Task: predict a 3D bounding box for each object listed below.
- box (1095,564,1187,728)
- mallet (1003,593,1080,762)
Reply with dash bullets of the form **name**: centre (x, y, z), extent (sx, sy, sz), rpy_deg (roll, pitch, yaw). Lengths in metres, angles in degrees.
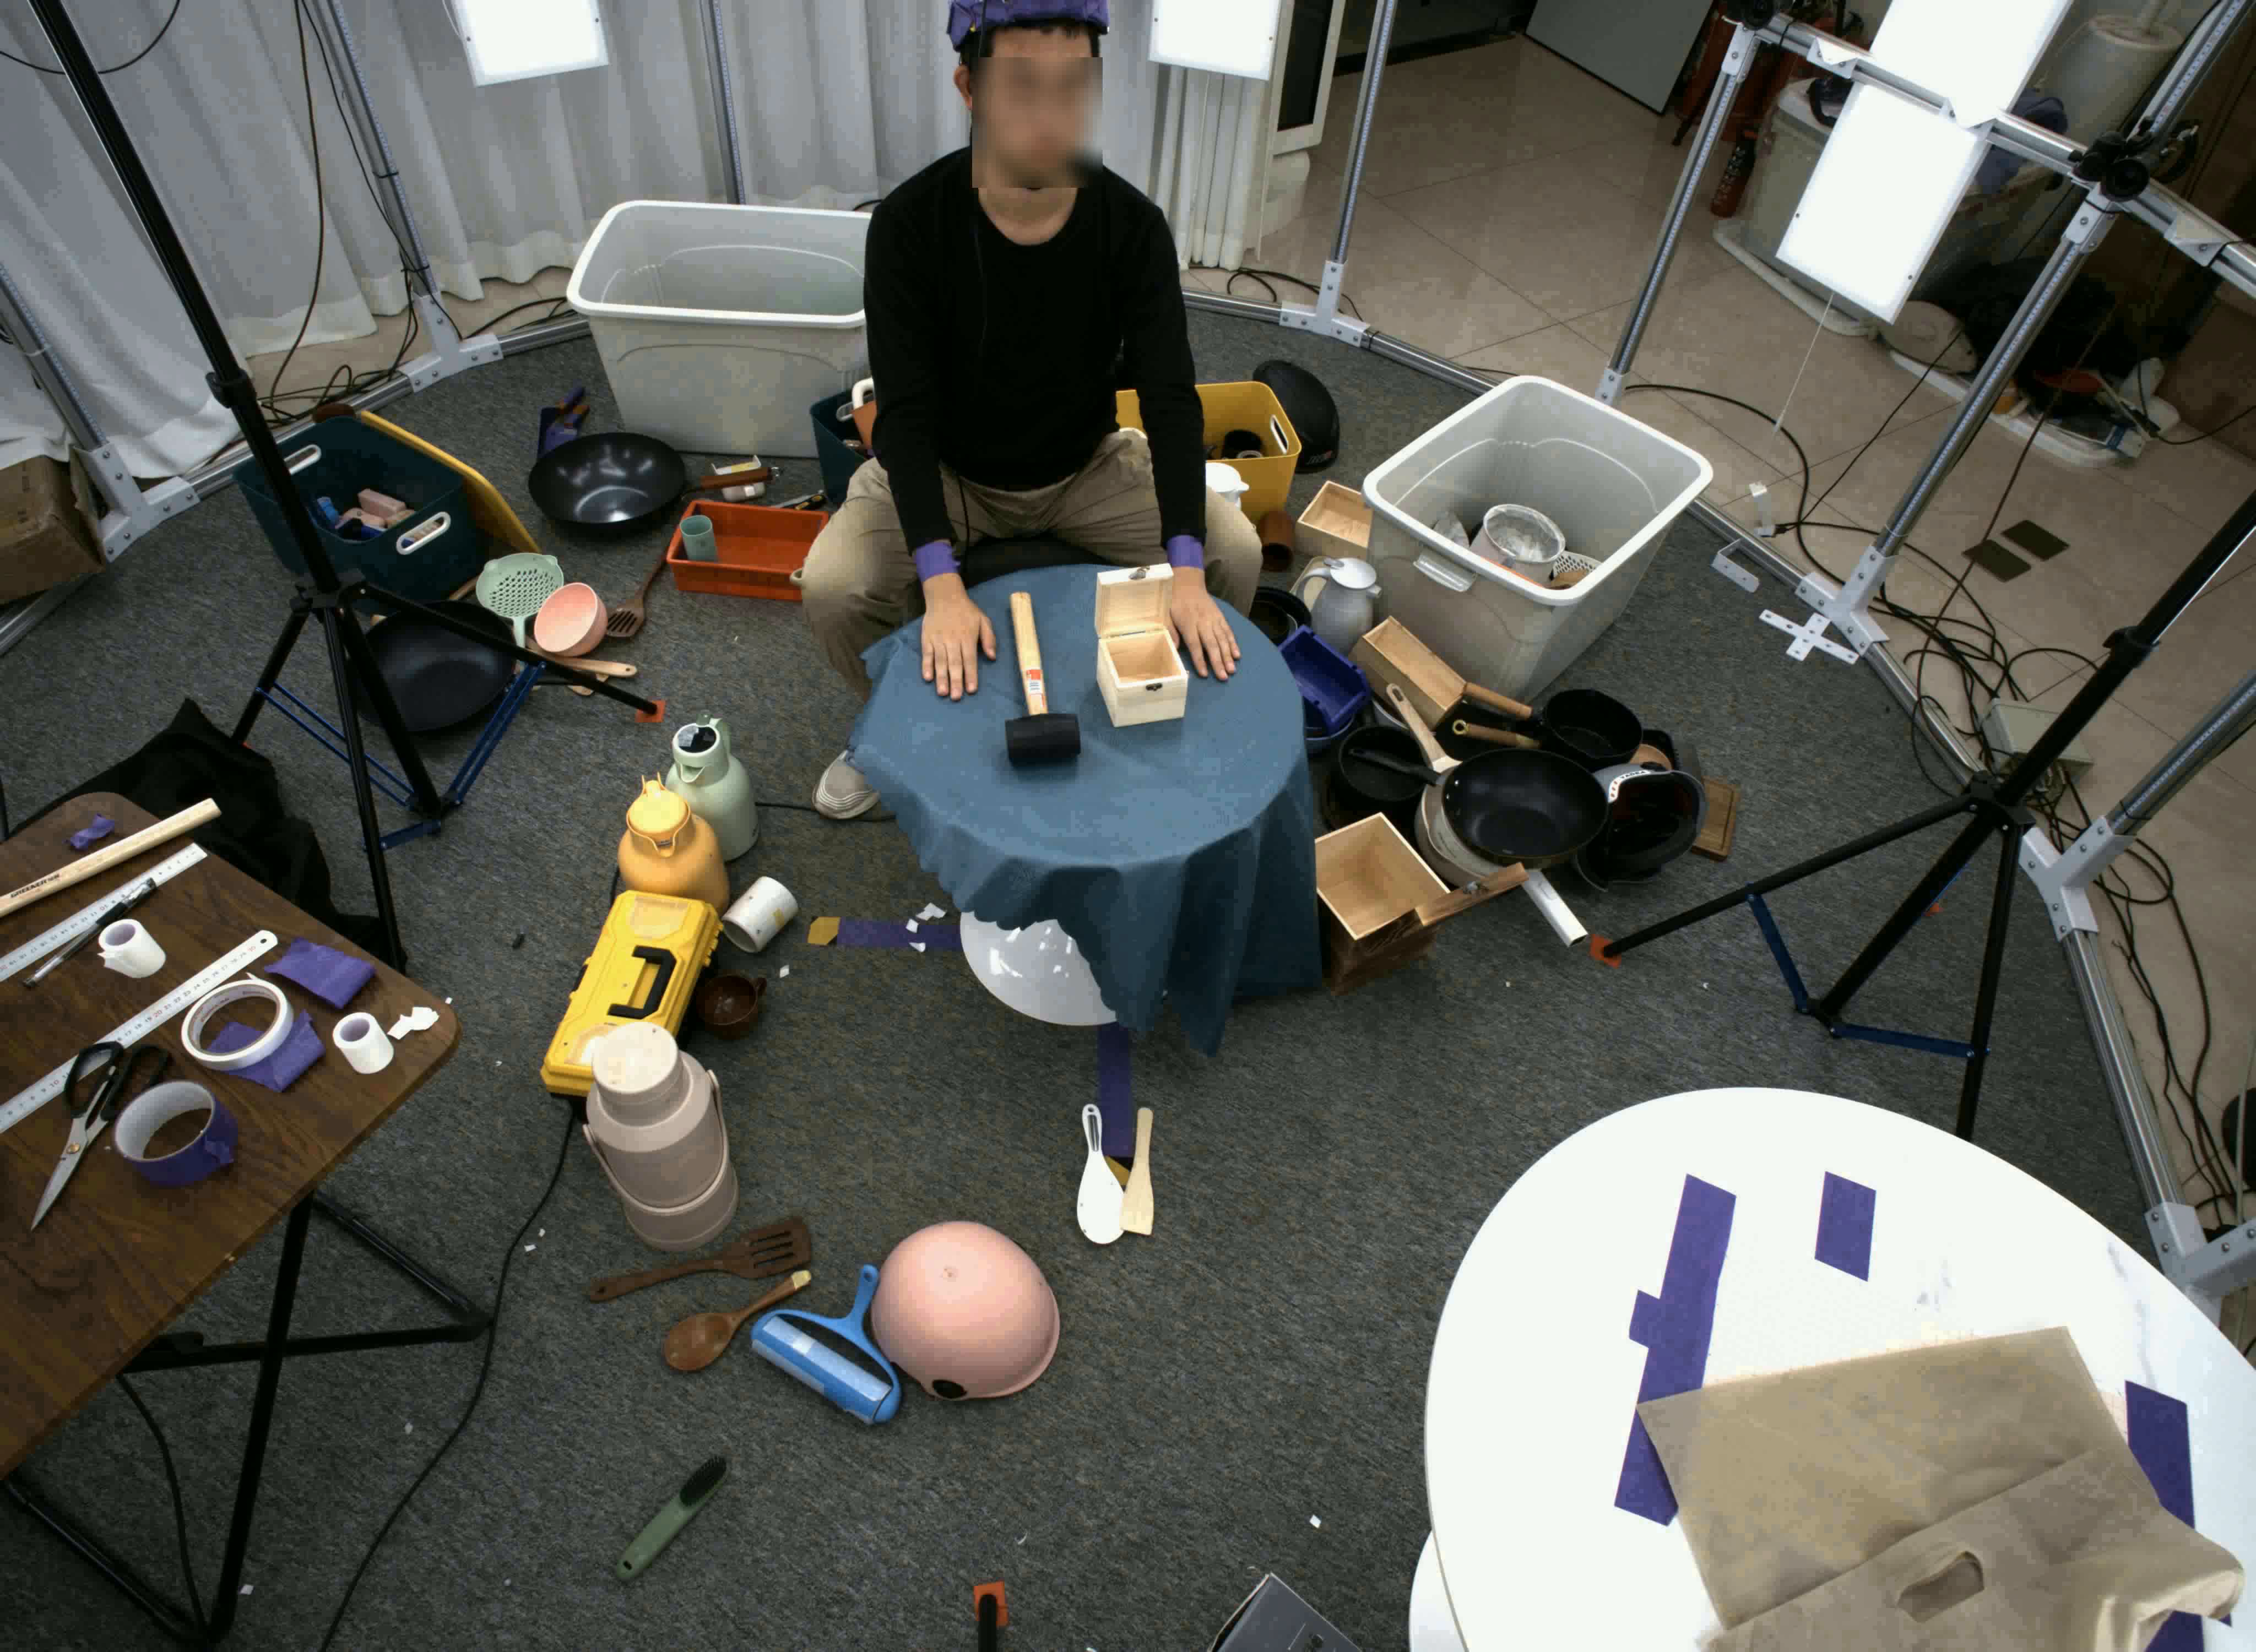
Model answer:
- **box**: centre (0.019, -0.248, 1.769), extent (0.102, 0.180, 0.137), rpy_deg (-9, 48, -13)
- **mallet**: centre (-0.134, -0.223, 1.816), extent (0.102, 0.063, 0.347), rpy_deg (-3, 49, -8)
